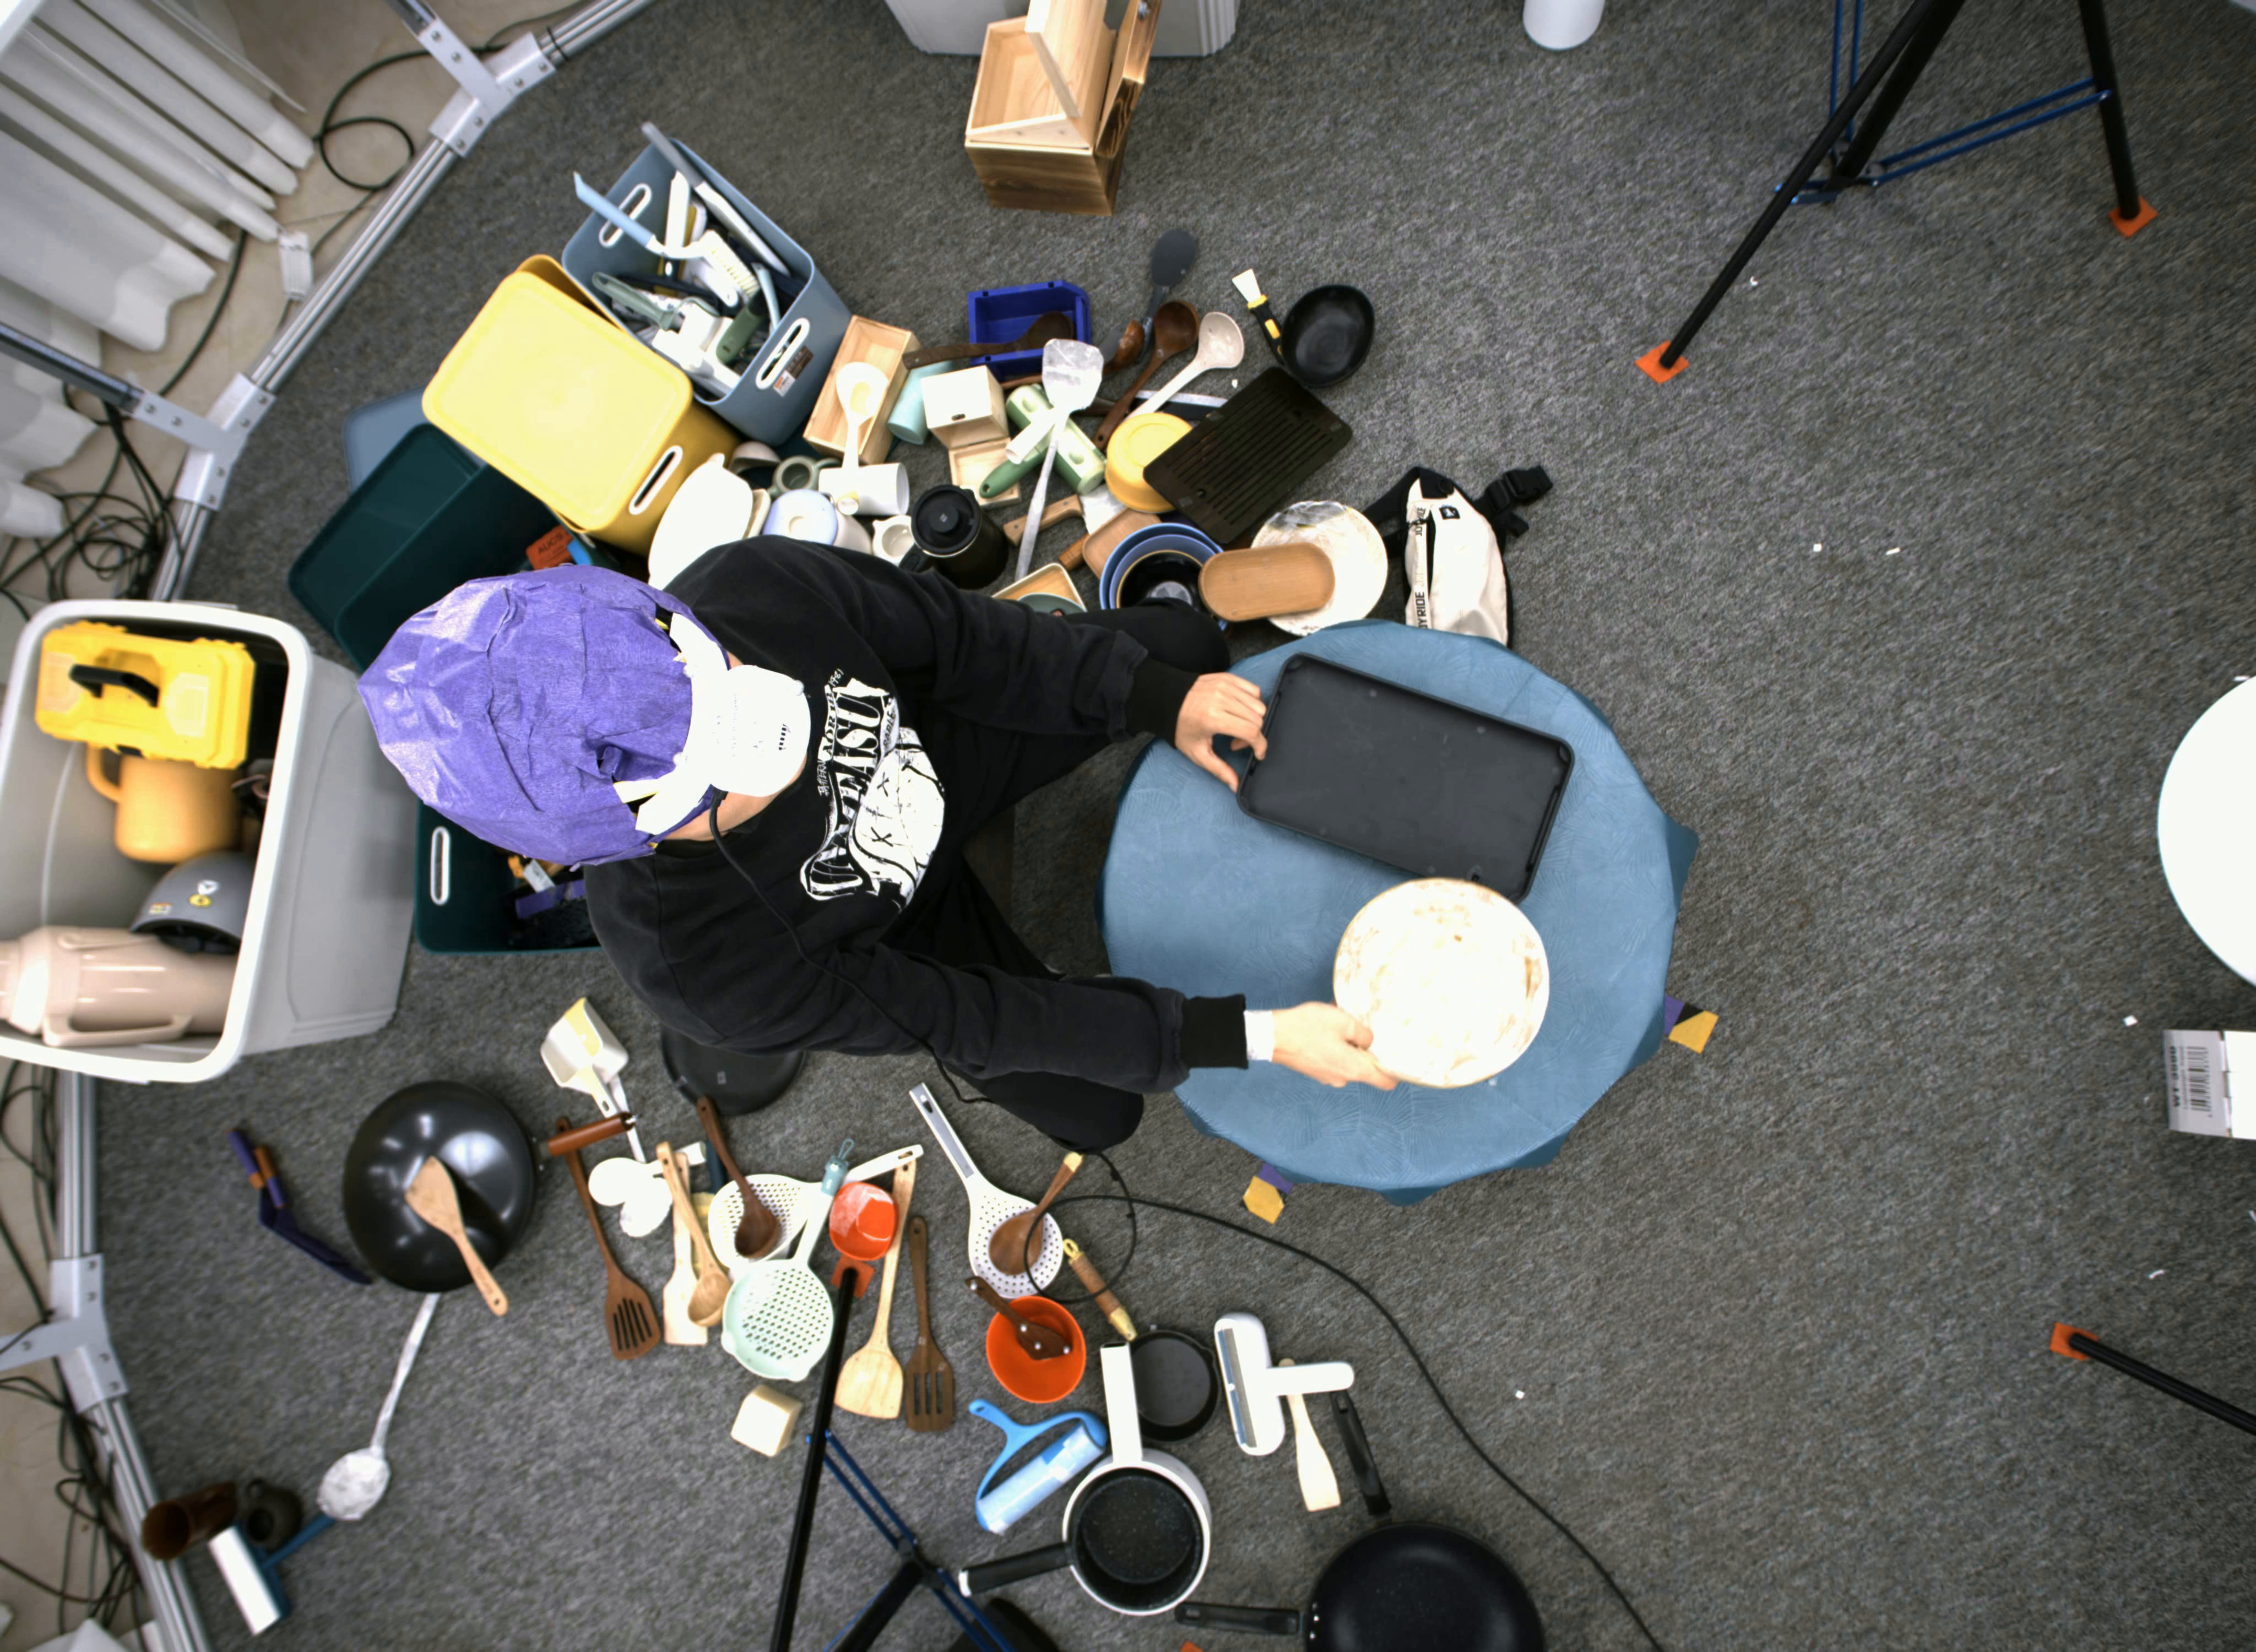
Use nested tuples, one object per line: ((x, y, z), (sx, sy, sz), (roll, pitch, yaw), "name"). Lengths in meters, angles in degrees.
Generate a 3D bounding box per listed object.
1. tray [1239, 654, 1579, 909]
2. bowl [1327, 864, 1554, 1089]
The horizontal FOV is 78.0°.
((0.291, -0.048, 1.441), (0.318, 0.037, 0.184), (21, 92, 10), "tray")
((0.304, 0.147, 1.349), (0.216, 0.095, 0.213), (-2, 84, 14), "bowl")
